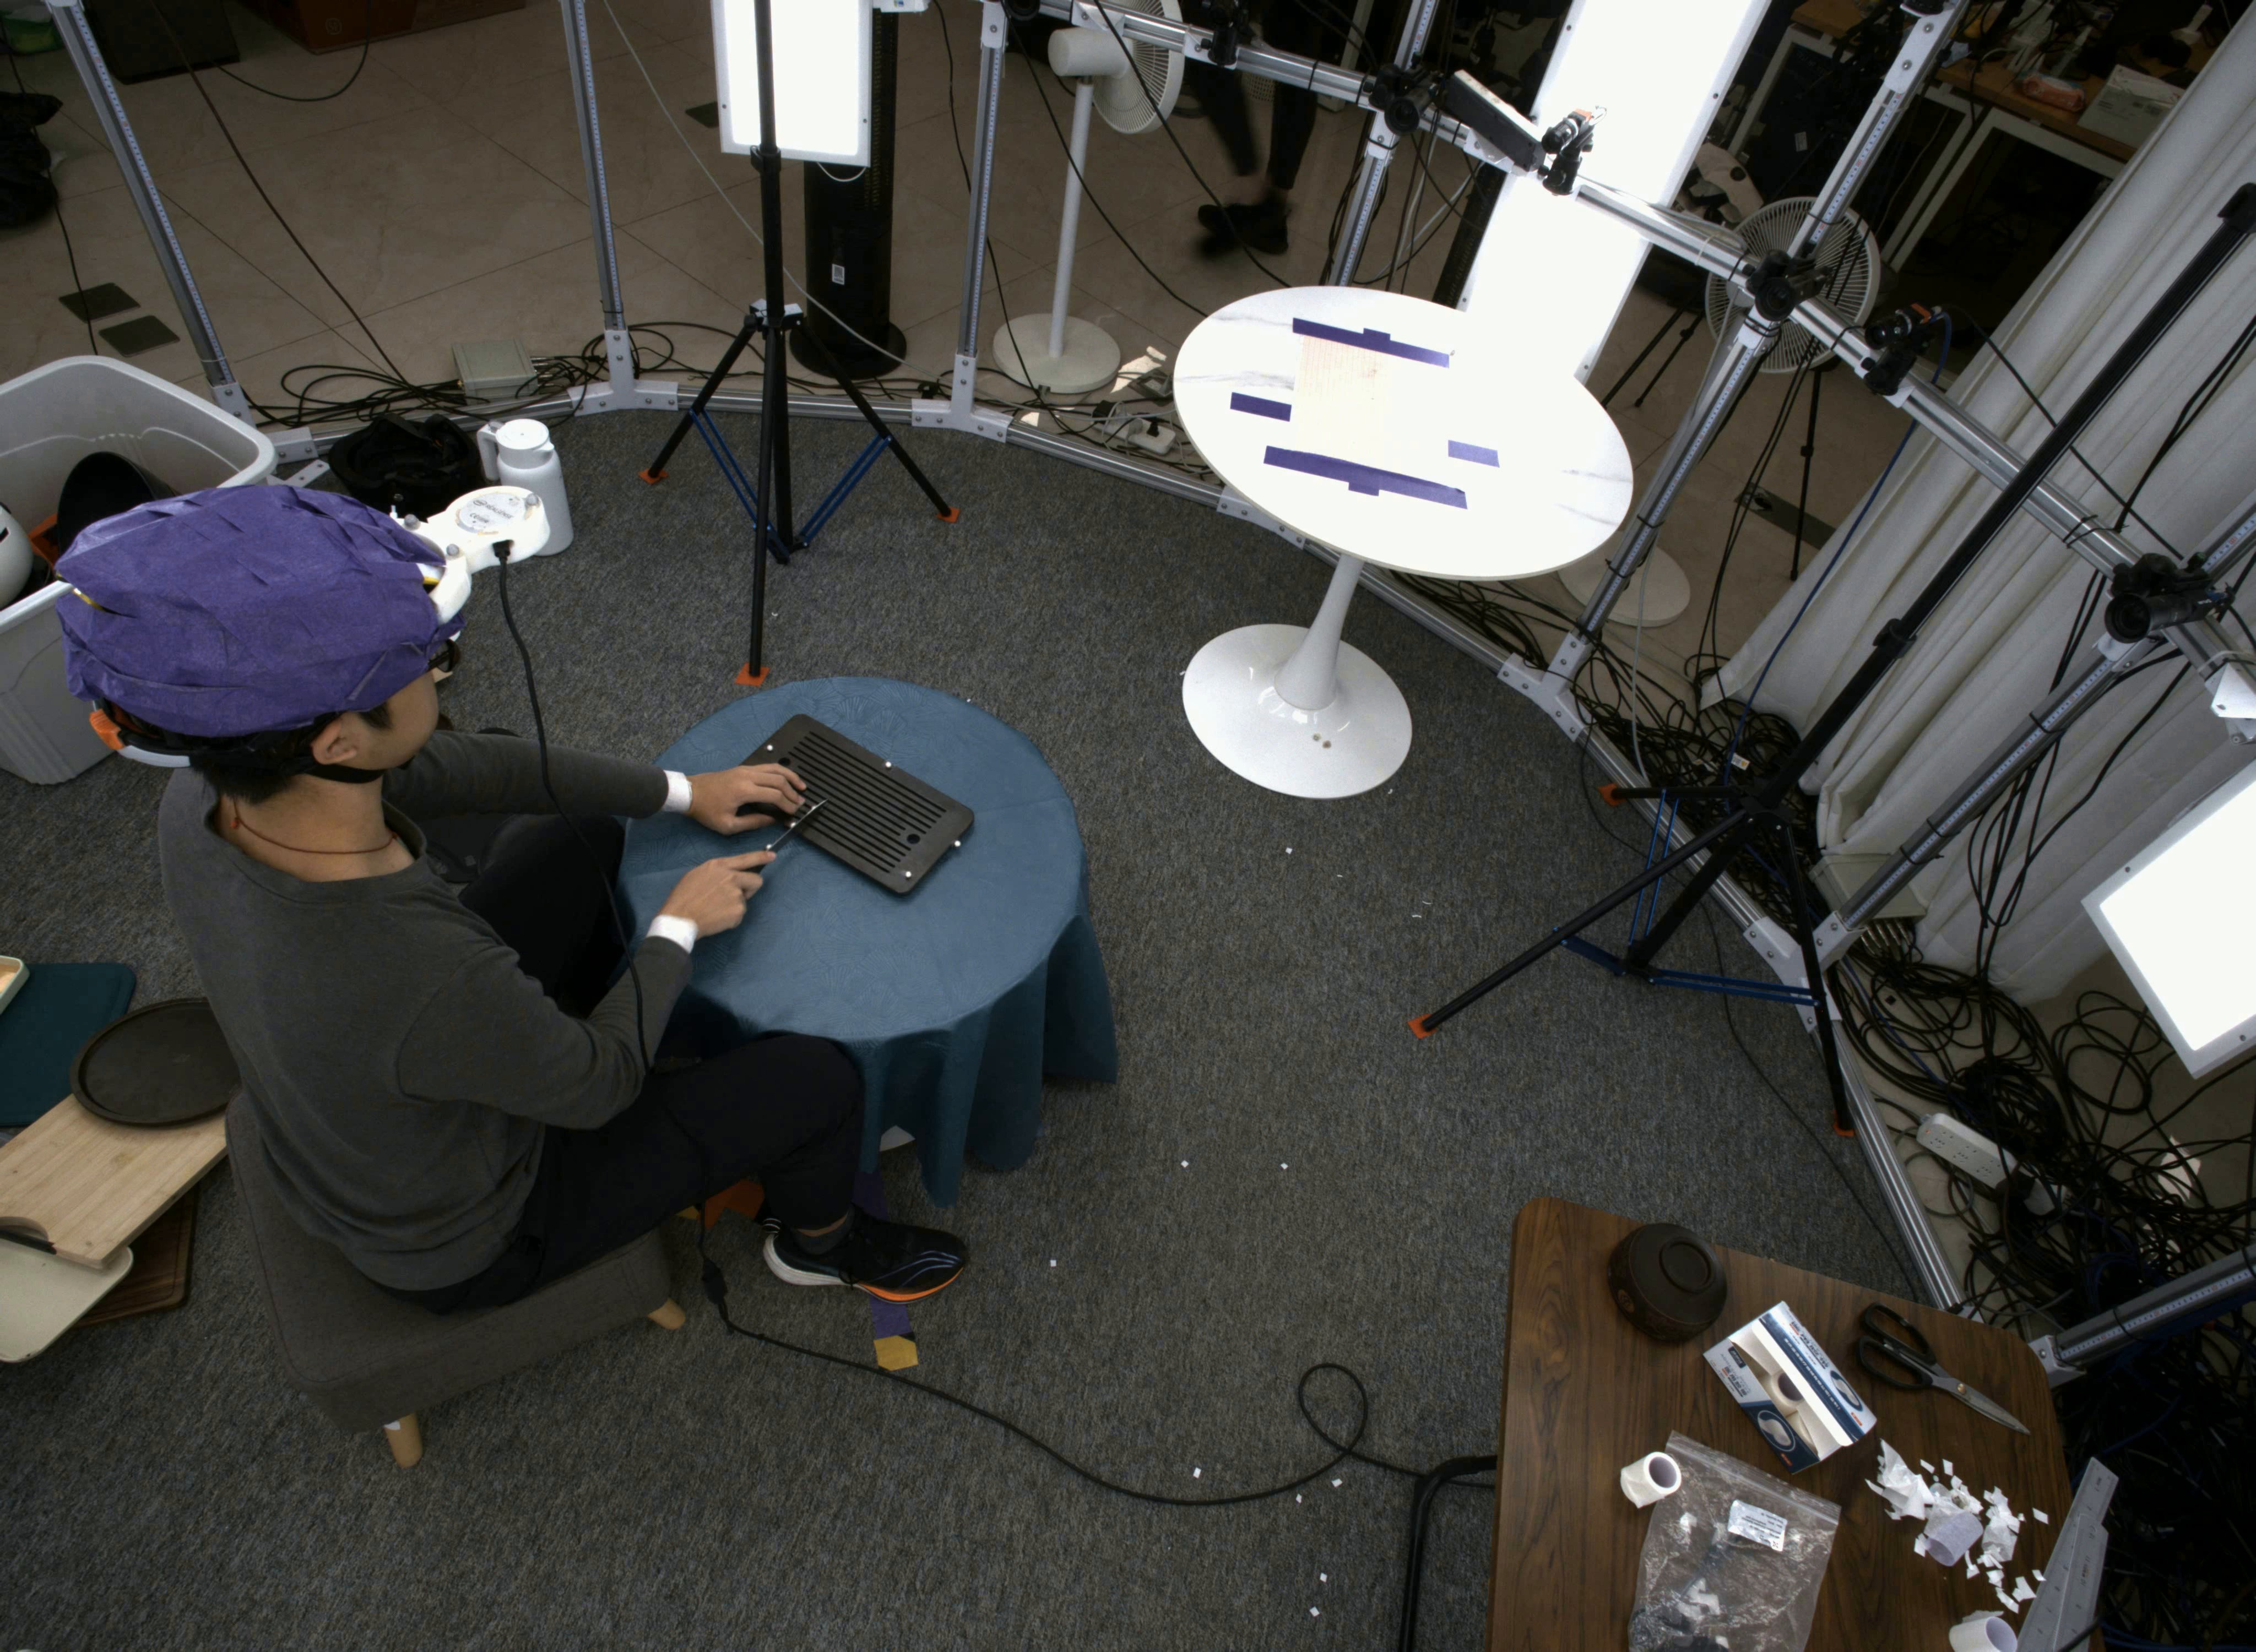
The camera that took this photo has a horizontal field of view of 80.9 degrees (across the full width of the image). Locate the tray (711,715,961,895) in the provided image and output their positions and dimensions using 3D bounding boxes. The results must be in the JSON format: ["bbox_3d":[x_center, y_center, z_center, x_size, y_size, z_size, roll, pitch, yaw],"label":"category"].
[{"bbox_3d":[-0.394,-0.031,1.755,0.301,0.019,0.169,29,53,8],"label":"tray"}]

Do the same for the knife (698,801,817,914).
[{"bbox_3d":[-0.470,0.031,1.655,0.016,0.025,0.237,20,43,18],"label":"knife"}]
